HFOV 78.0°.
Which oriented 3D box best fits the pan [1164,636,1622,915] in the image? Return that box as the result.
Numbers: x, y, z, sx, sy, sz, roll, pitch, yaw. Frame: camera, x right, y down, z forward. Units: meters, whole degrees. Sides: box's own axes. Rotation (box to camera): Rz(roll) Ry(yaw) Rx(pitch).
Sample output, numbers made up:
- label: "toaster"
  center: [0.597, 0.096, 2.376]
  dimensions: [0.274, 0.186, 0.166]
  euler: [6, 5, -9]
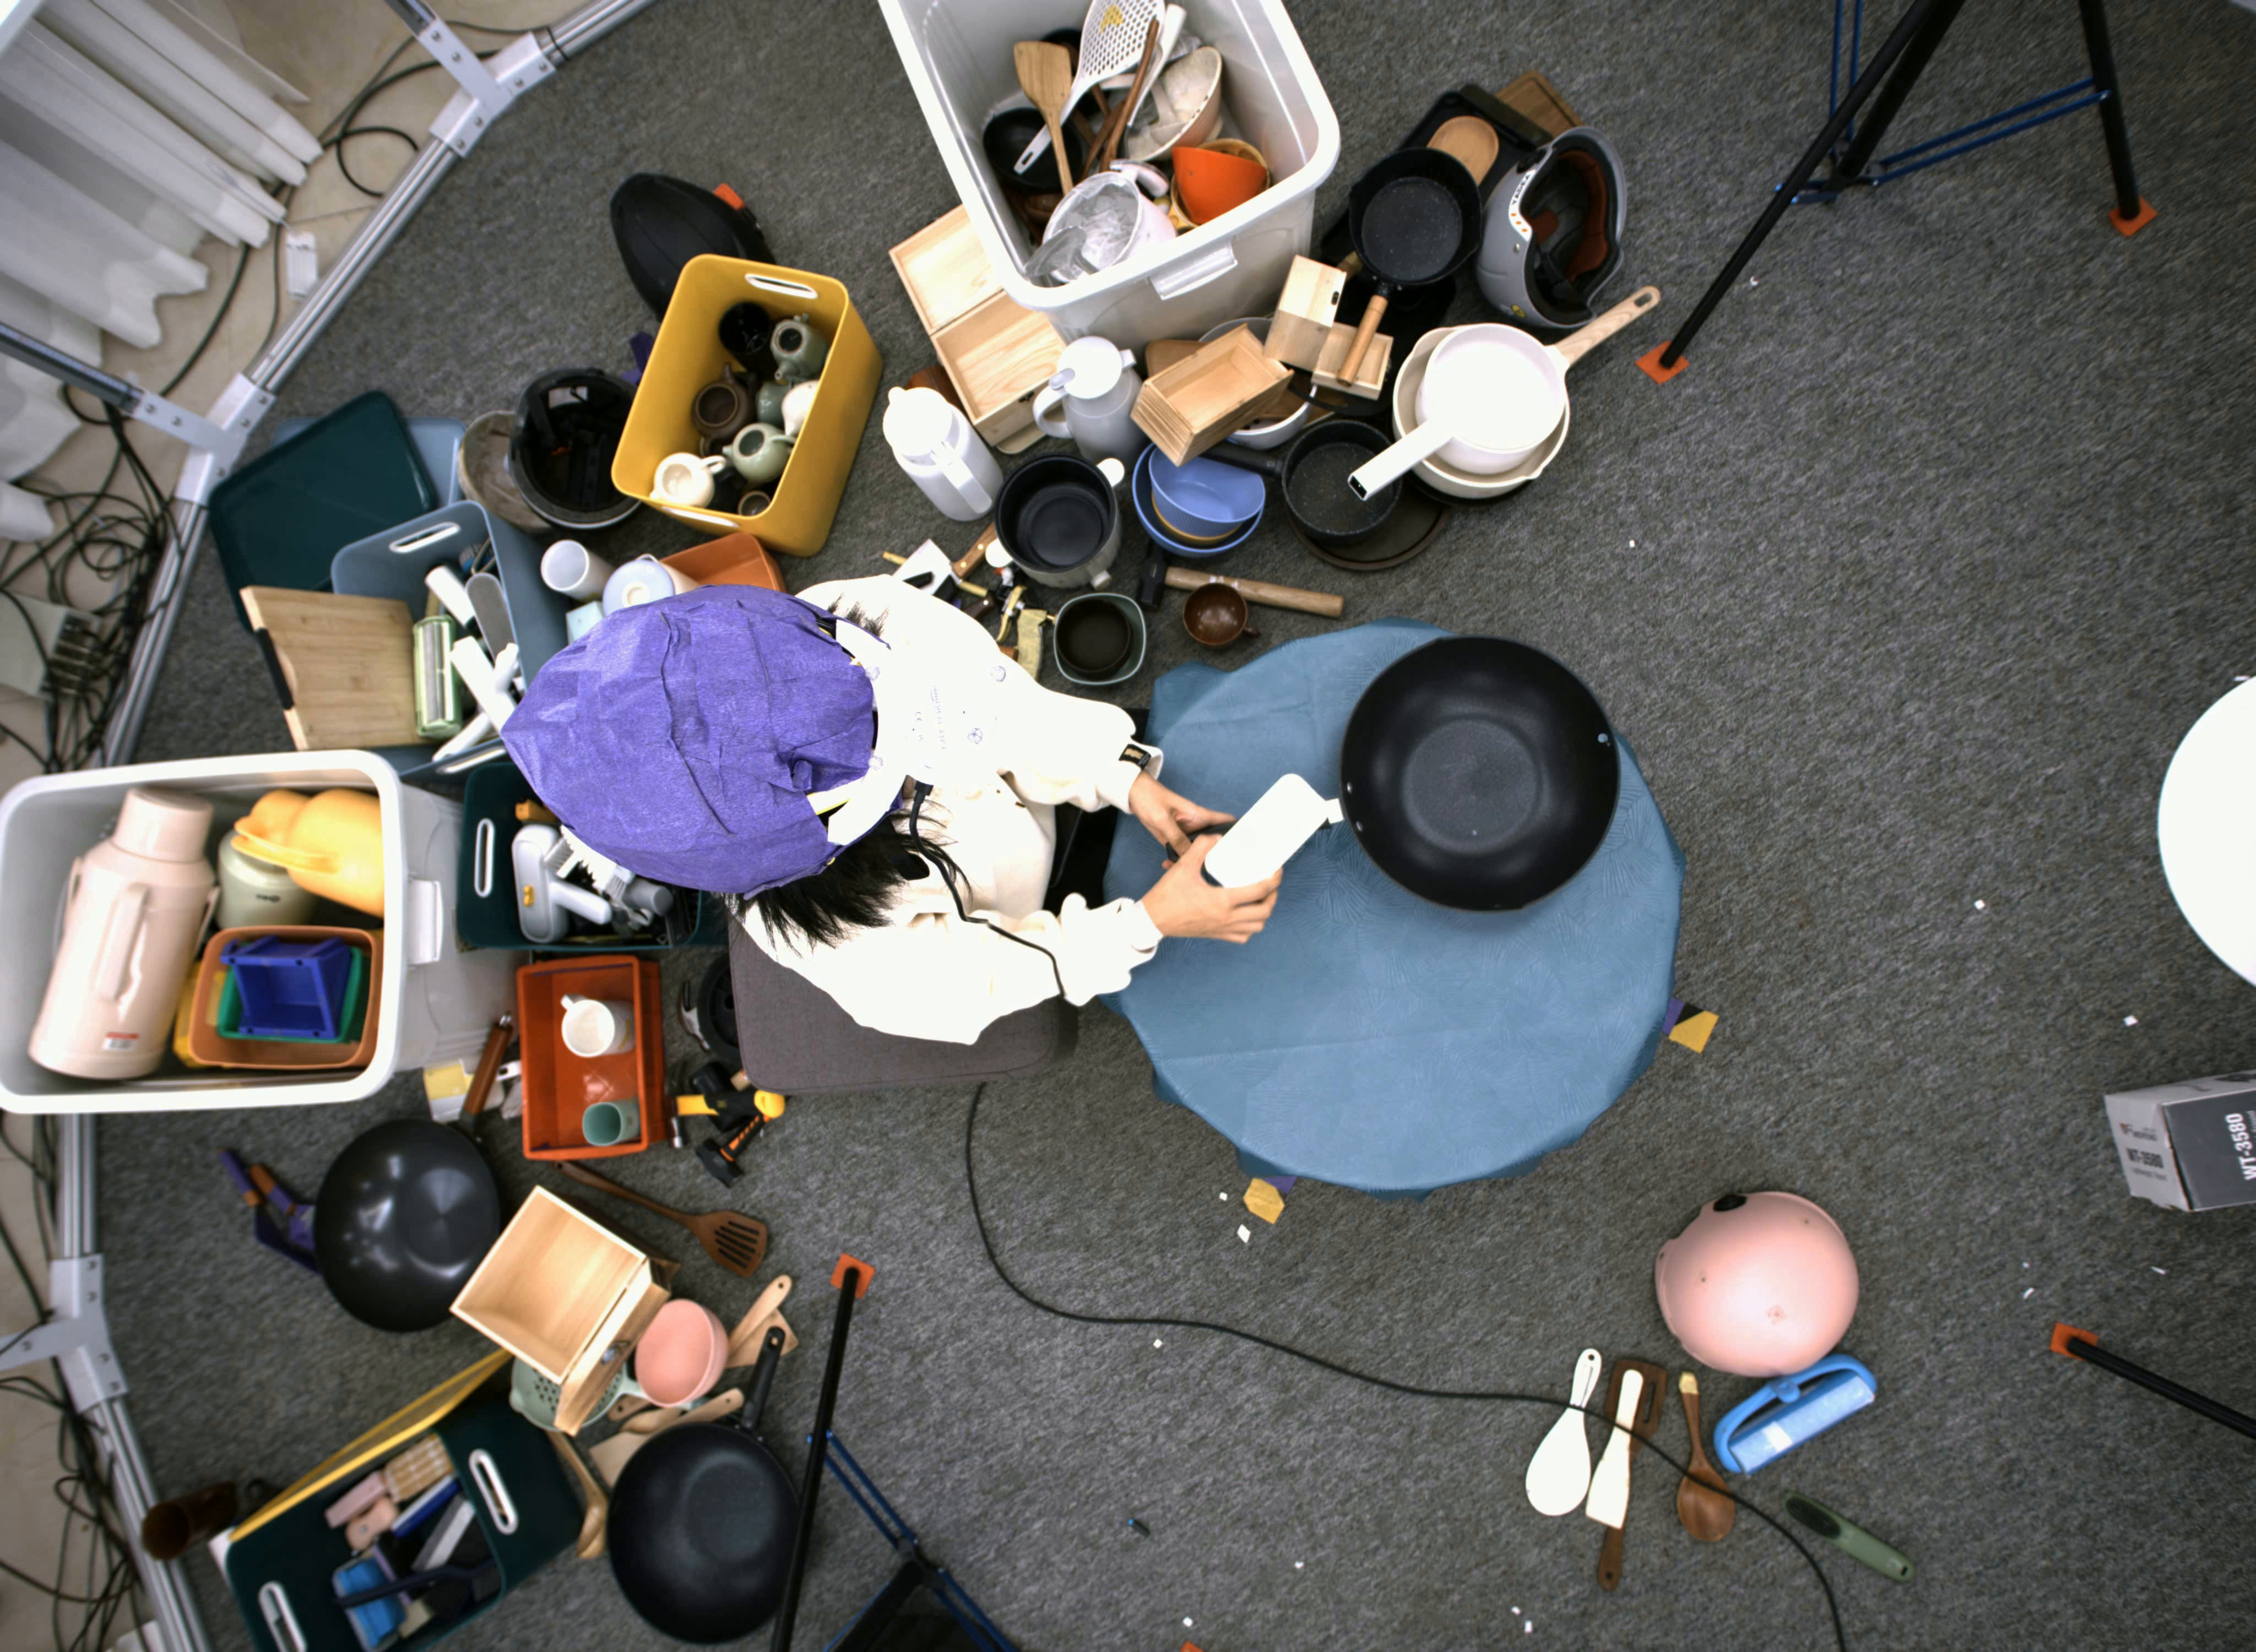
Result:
- label: "pan"
  center: [0.269, -0.027, 1.424]
  dimensions: [0.466, 0.087, 0.286]
  euler: [-15, 83, 10]

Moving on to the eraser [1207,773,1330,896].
- label: "eraser"
  center: [0.139, 0.007, 1.383]
  dimensions: [0.063, 0.034, 0.131]
  euler: [45, 91, 6]
